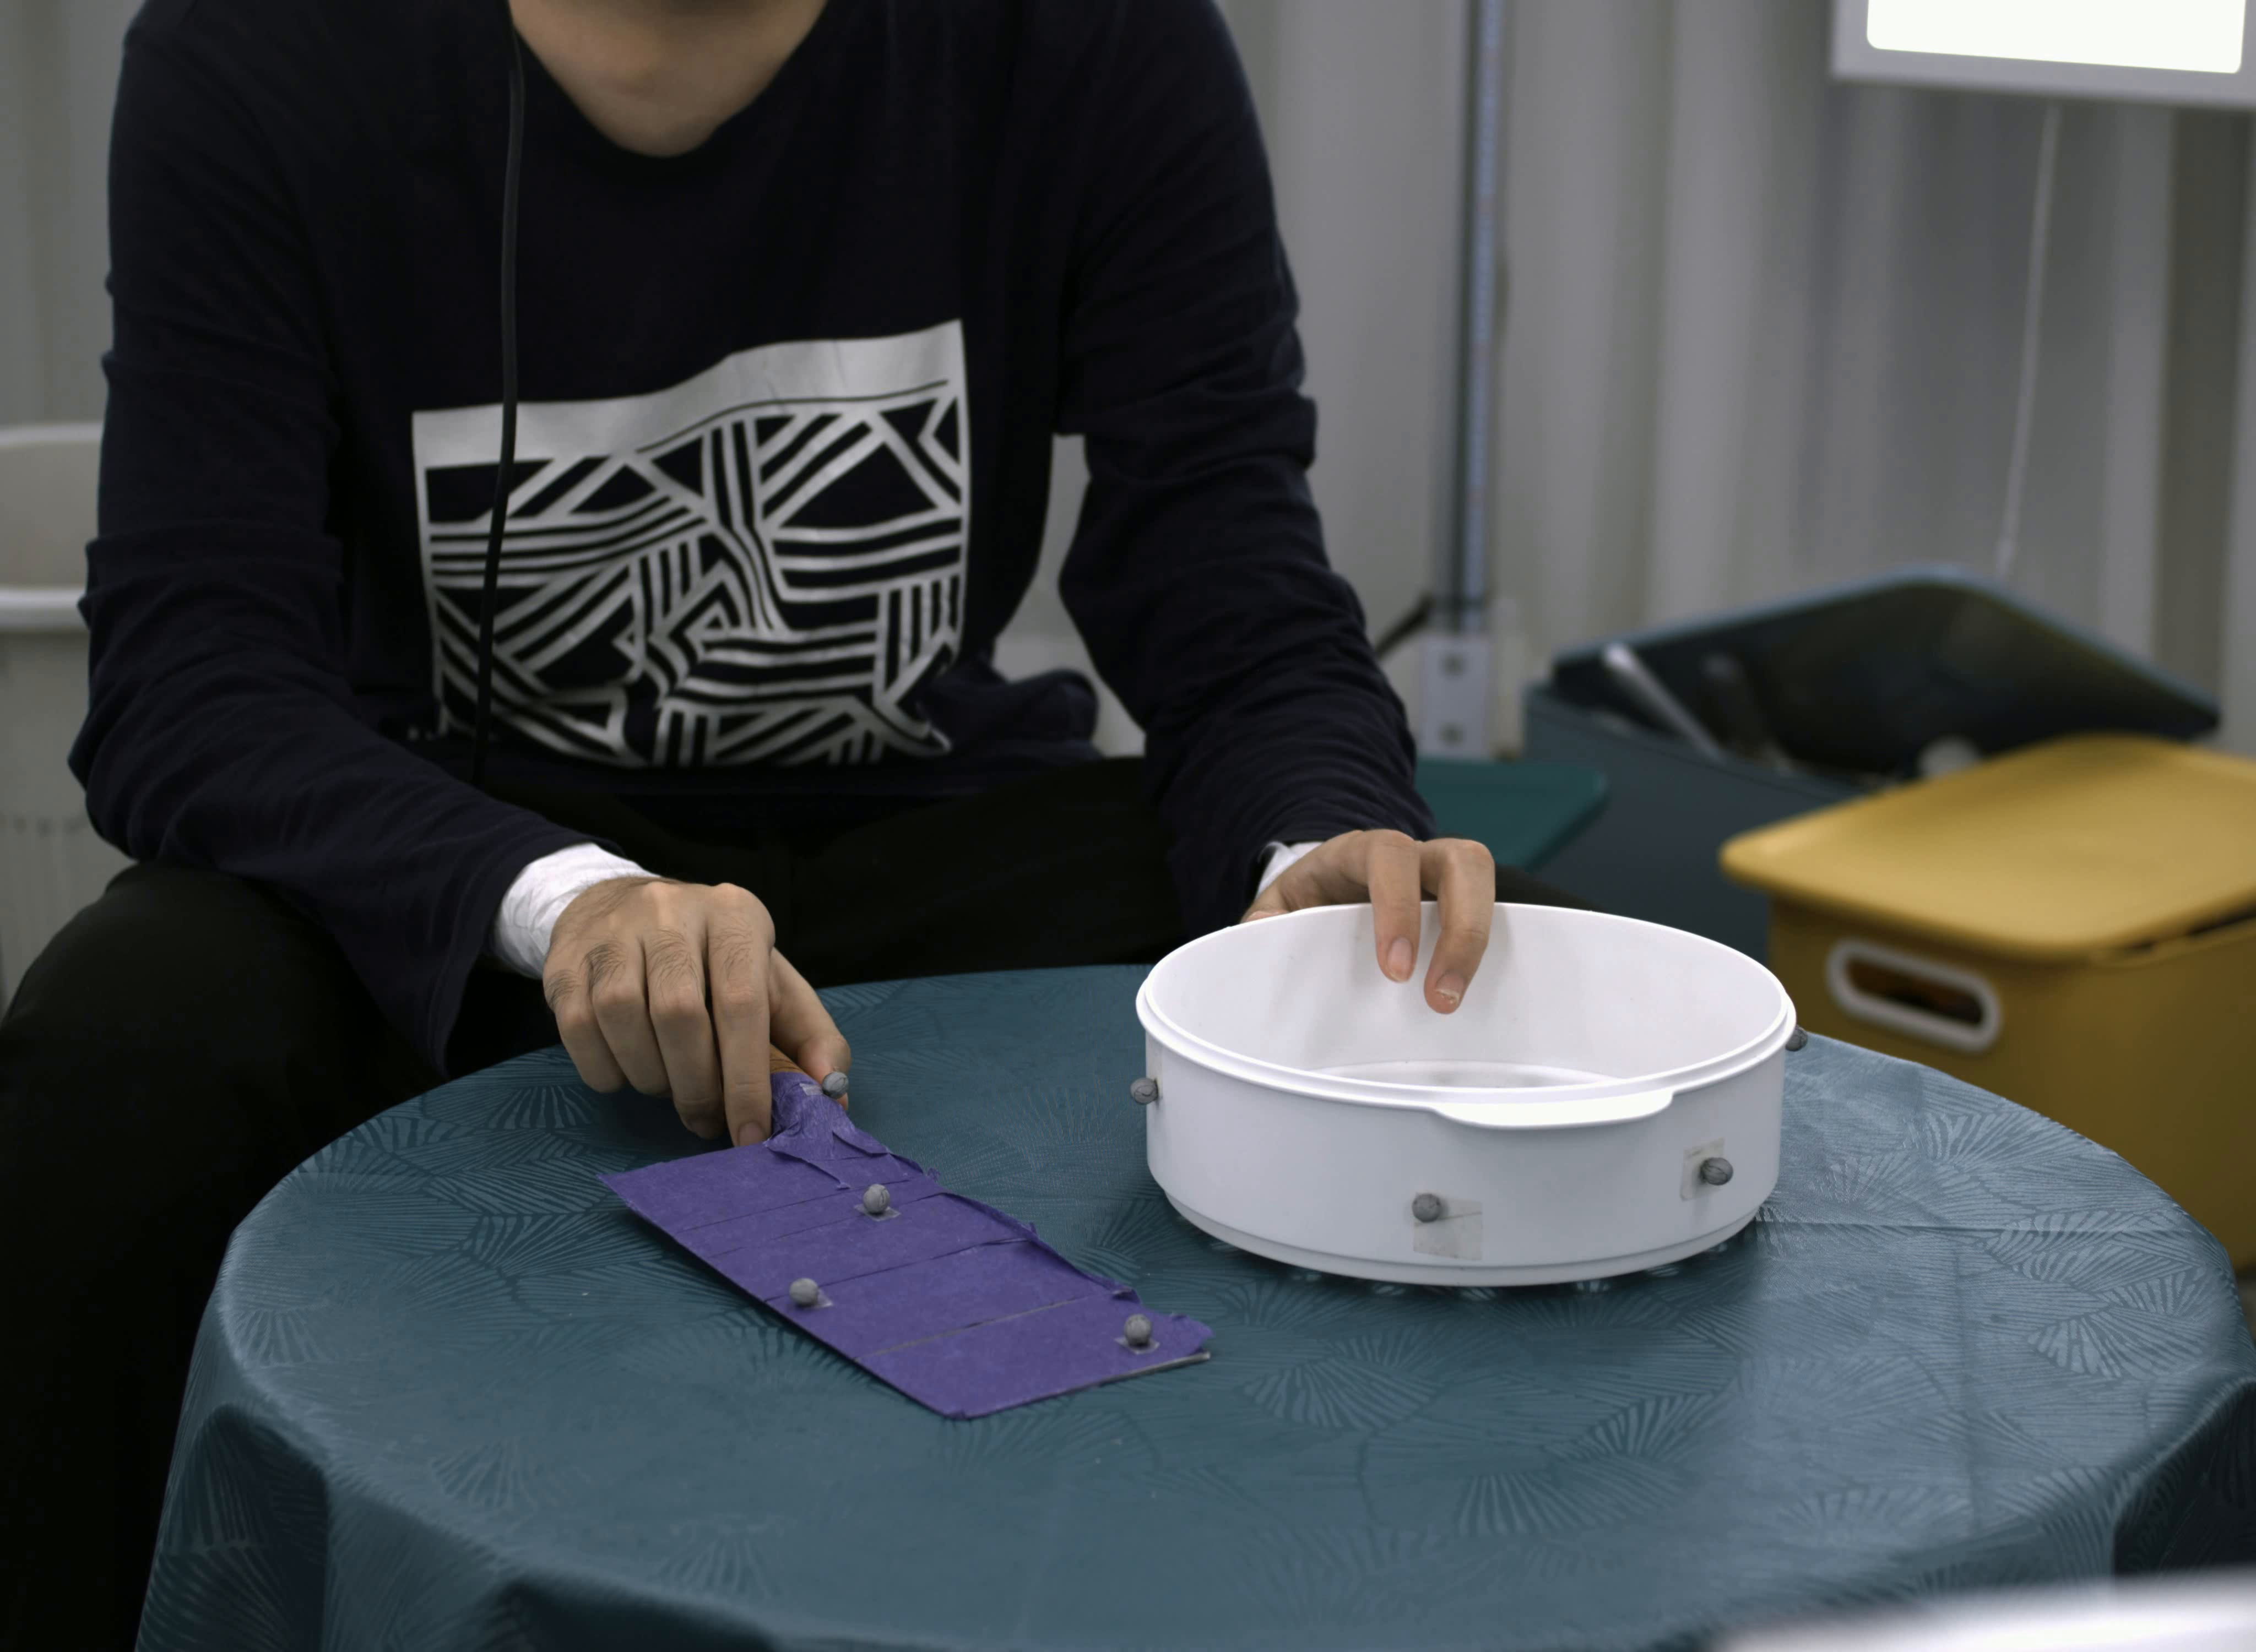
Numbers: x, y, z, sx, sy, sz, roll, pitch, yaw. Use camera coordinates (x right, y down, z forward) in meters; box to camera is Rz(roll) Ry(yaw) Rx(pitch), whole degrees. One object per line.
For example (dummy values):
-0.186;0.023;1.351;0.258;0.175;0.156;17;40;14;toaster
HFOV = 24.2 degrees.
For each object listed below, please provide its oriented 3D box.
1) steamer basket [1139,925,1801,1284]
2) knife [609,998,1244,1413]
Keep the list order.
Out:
0.103;0.084;1.608;0.202;0.070;0.228;-2;13;-12;steamer basket
-0.095;0.110;1.580;0.104;0.032;0.311;-10;19;-33;knife
